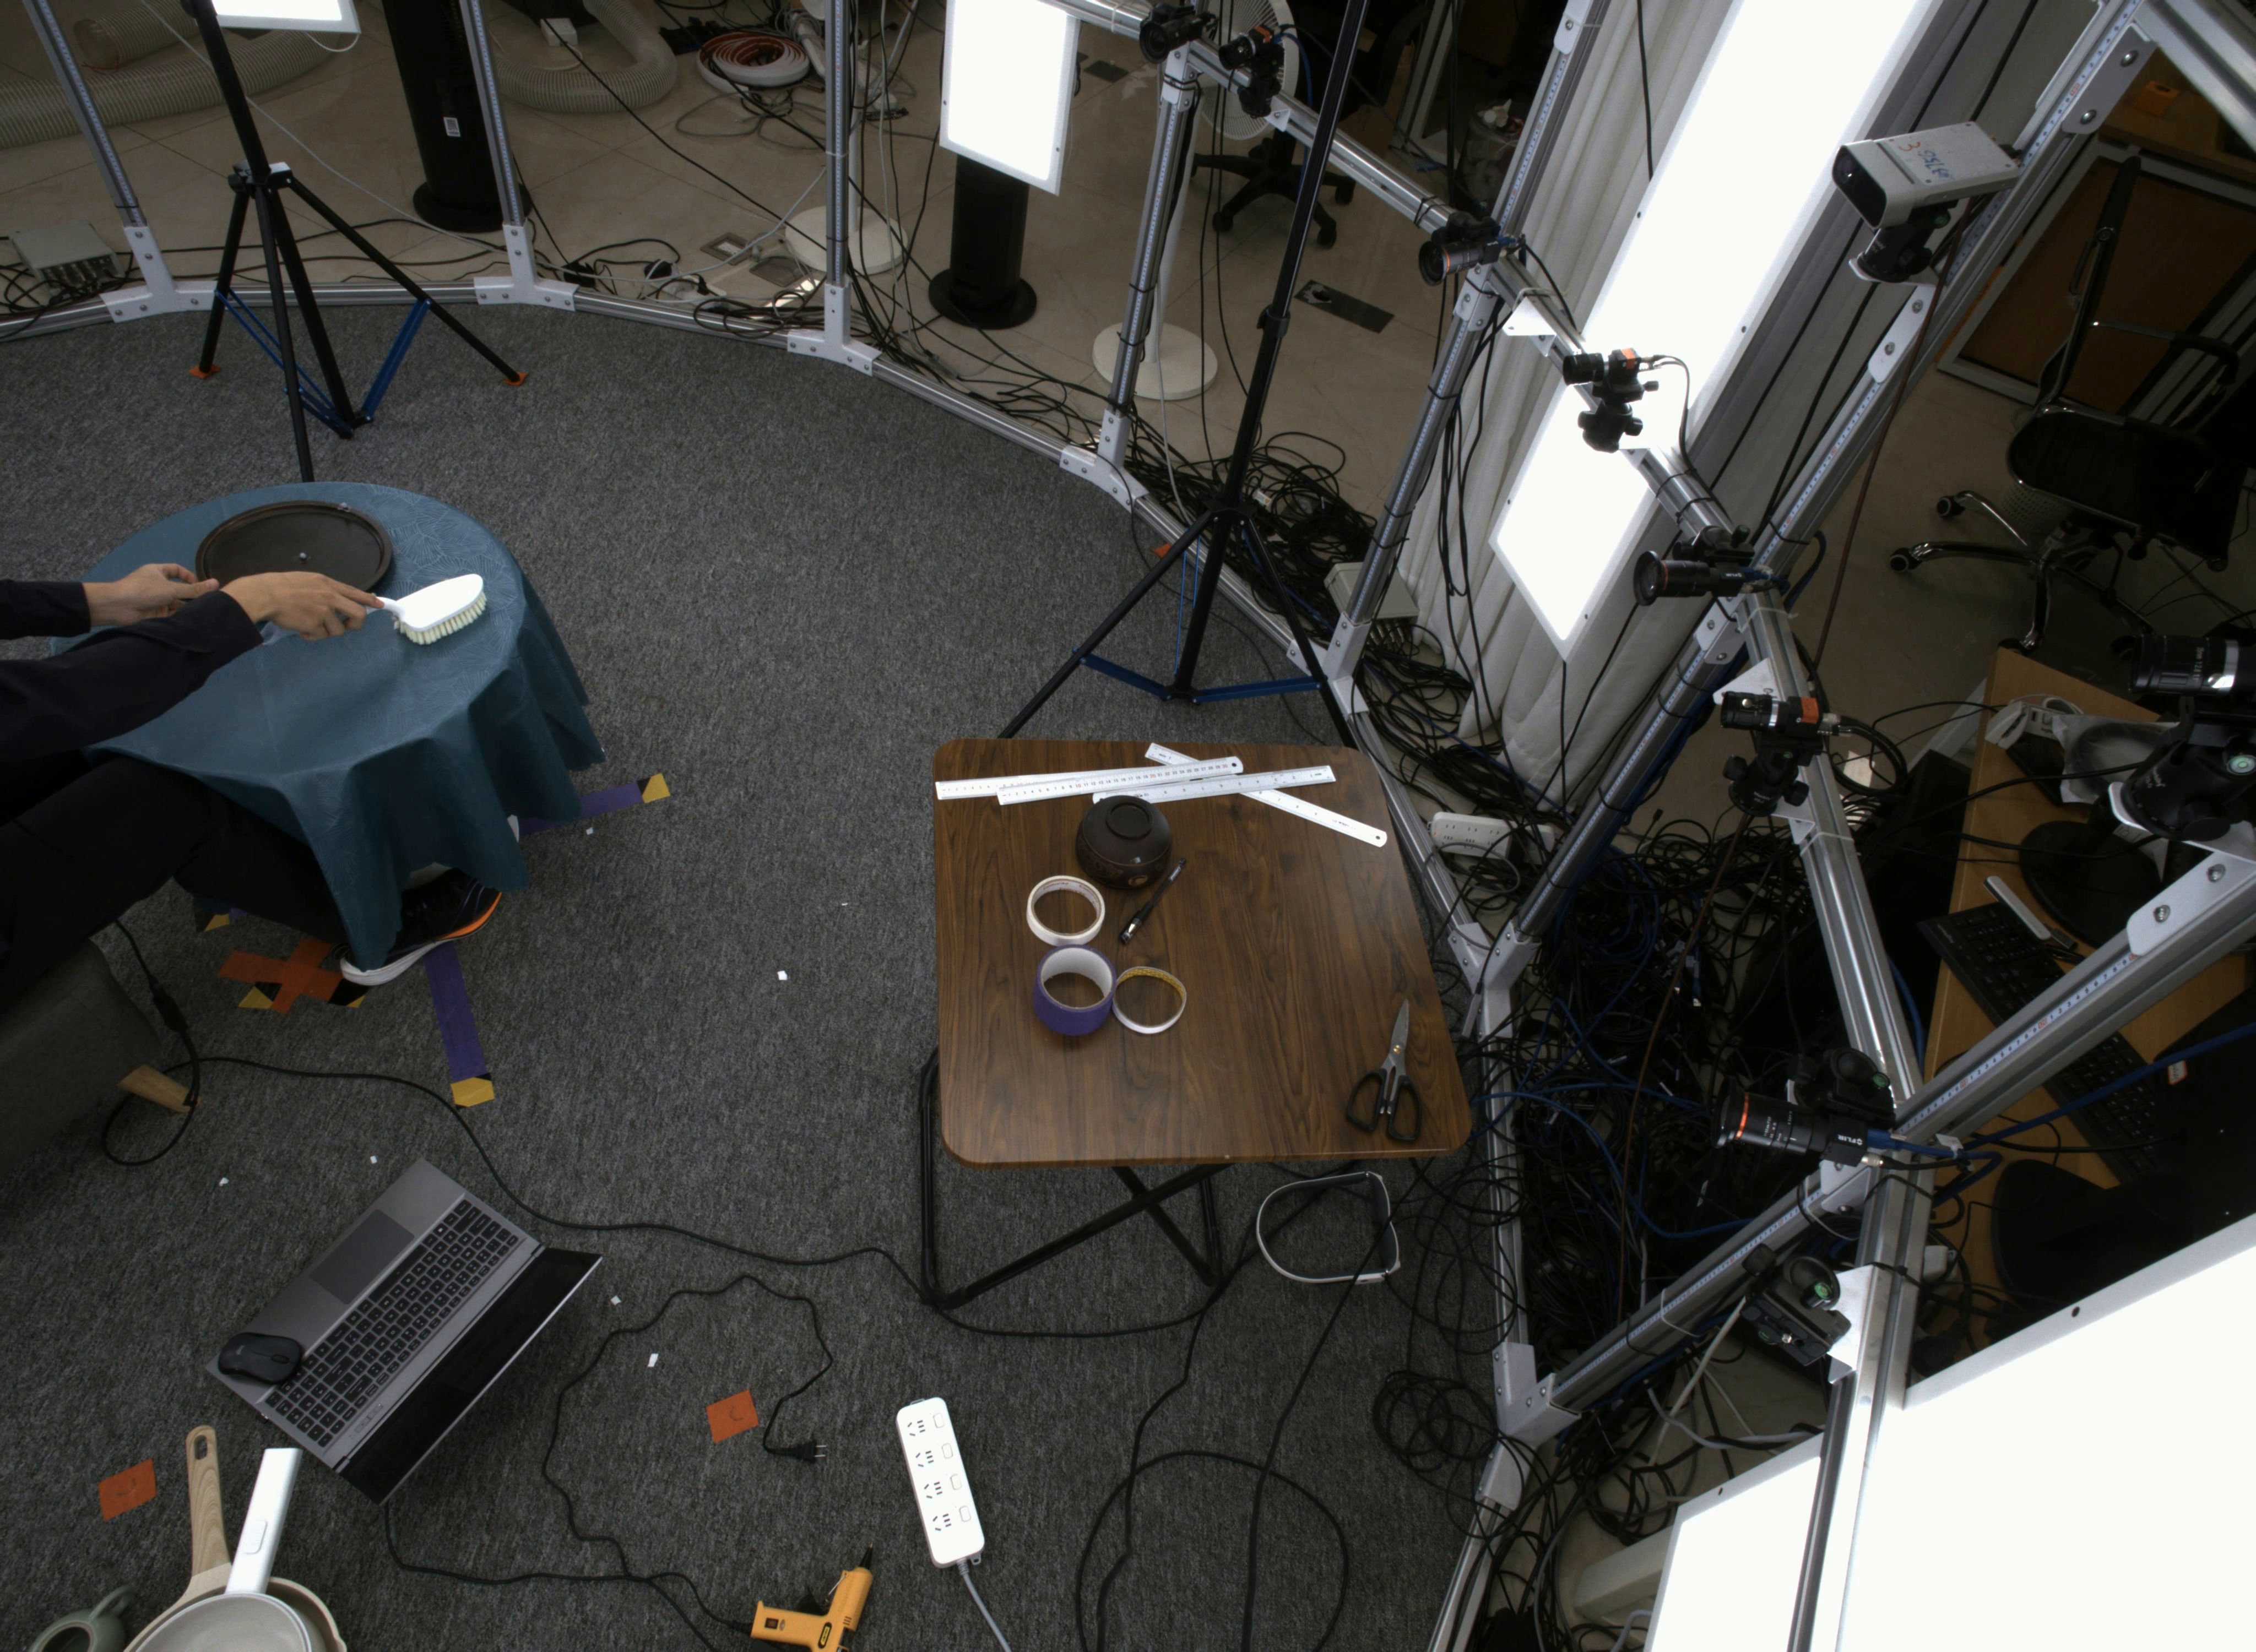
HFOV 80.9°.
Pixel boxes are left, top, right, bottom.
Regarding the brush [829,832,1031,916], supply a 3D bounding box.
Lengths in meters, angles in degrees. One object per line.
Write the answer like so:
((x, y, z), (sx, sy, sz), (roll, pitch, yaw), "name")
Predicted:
((-0.299, 0.084, 1.950), (0.332, 0.084, 0.081), (14, -19, -29), "brush")

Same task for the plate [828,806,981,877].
((-0.370, 0.022, 2.153), (0.253, 0.030, 0.250), (10, 24, -3), "plate")
